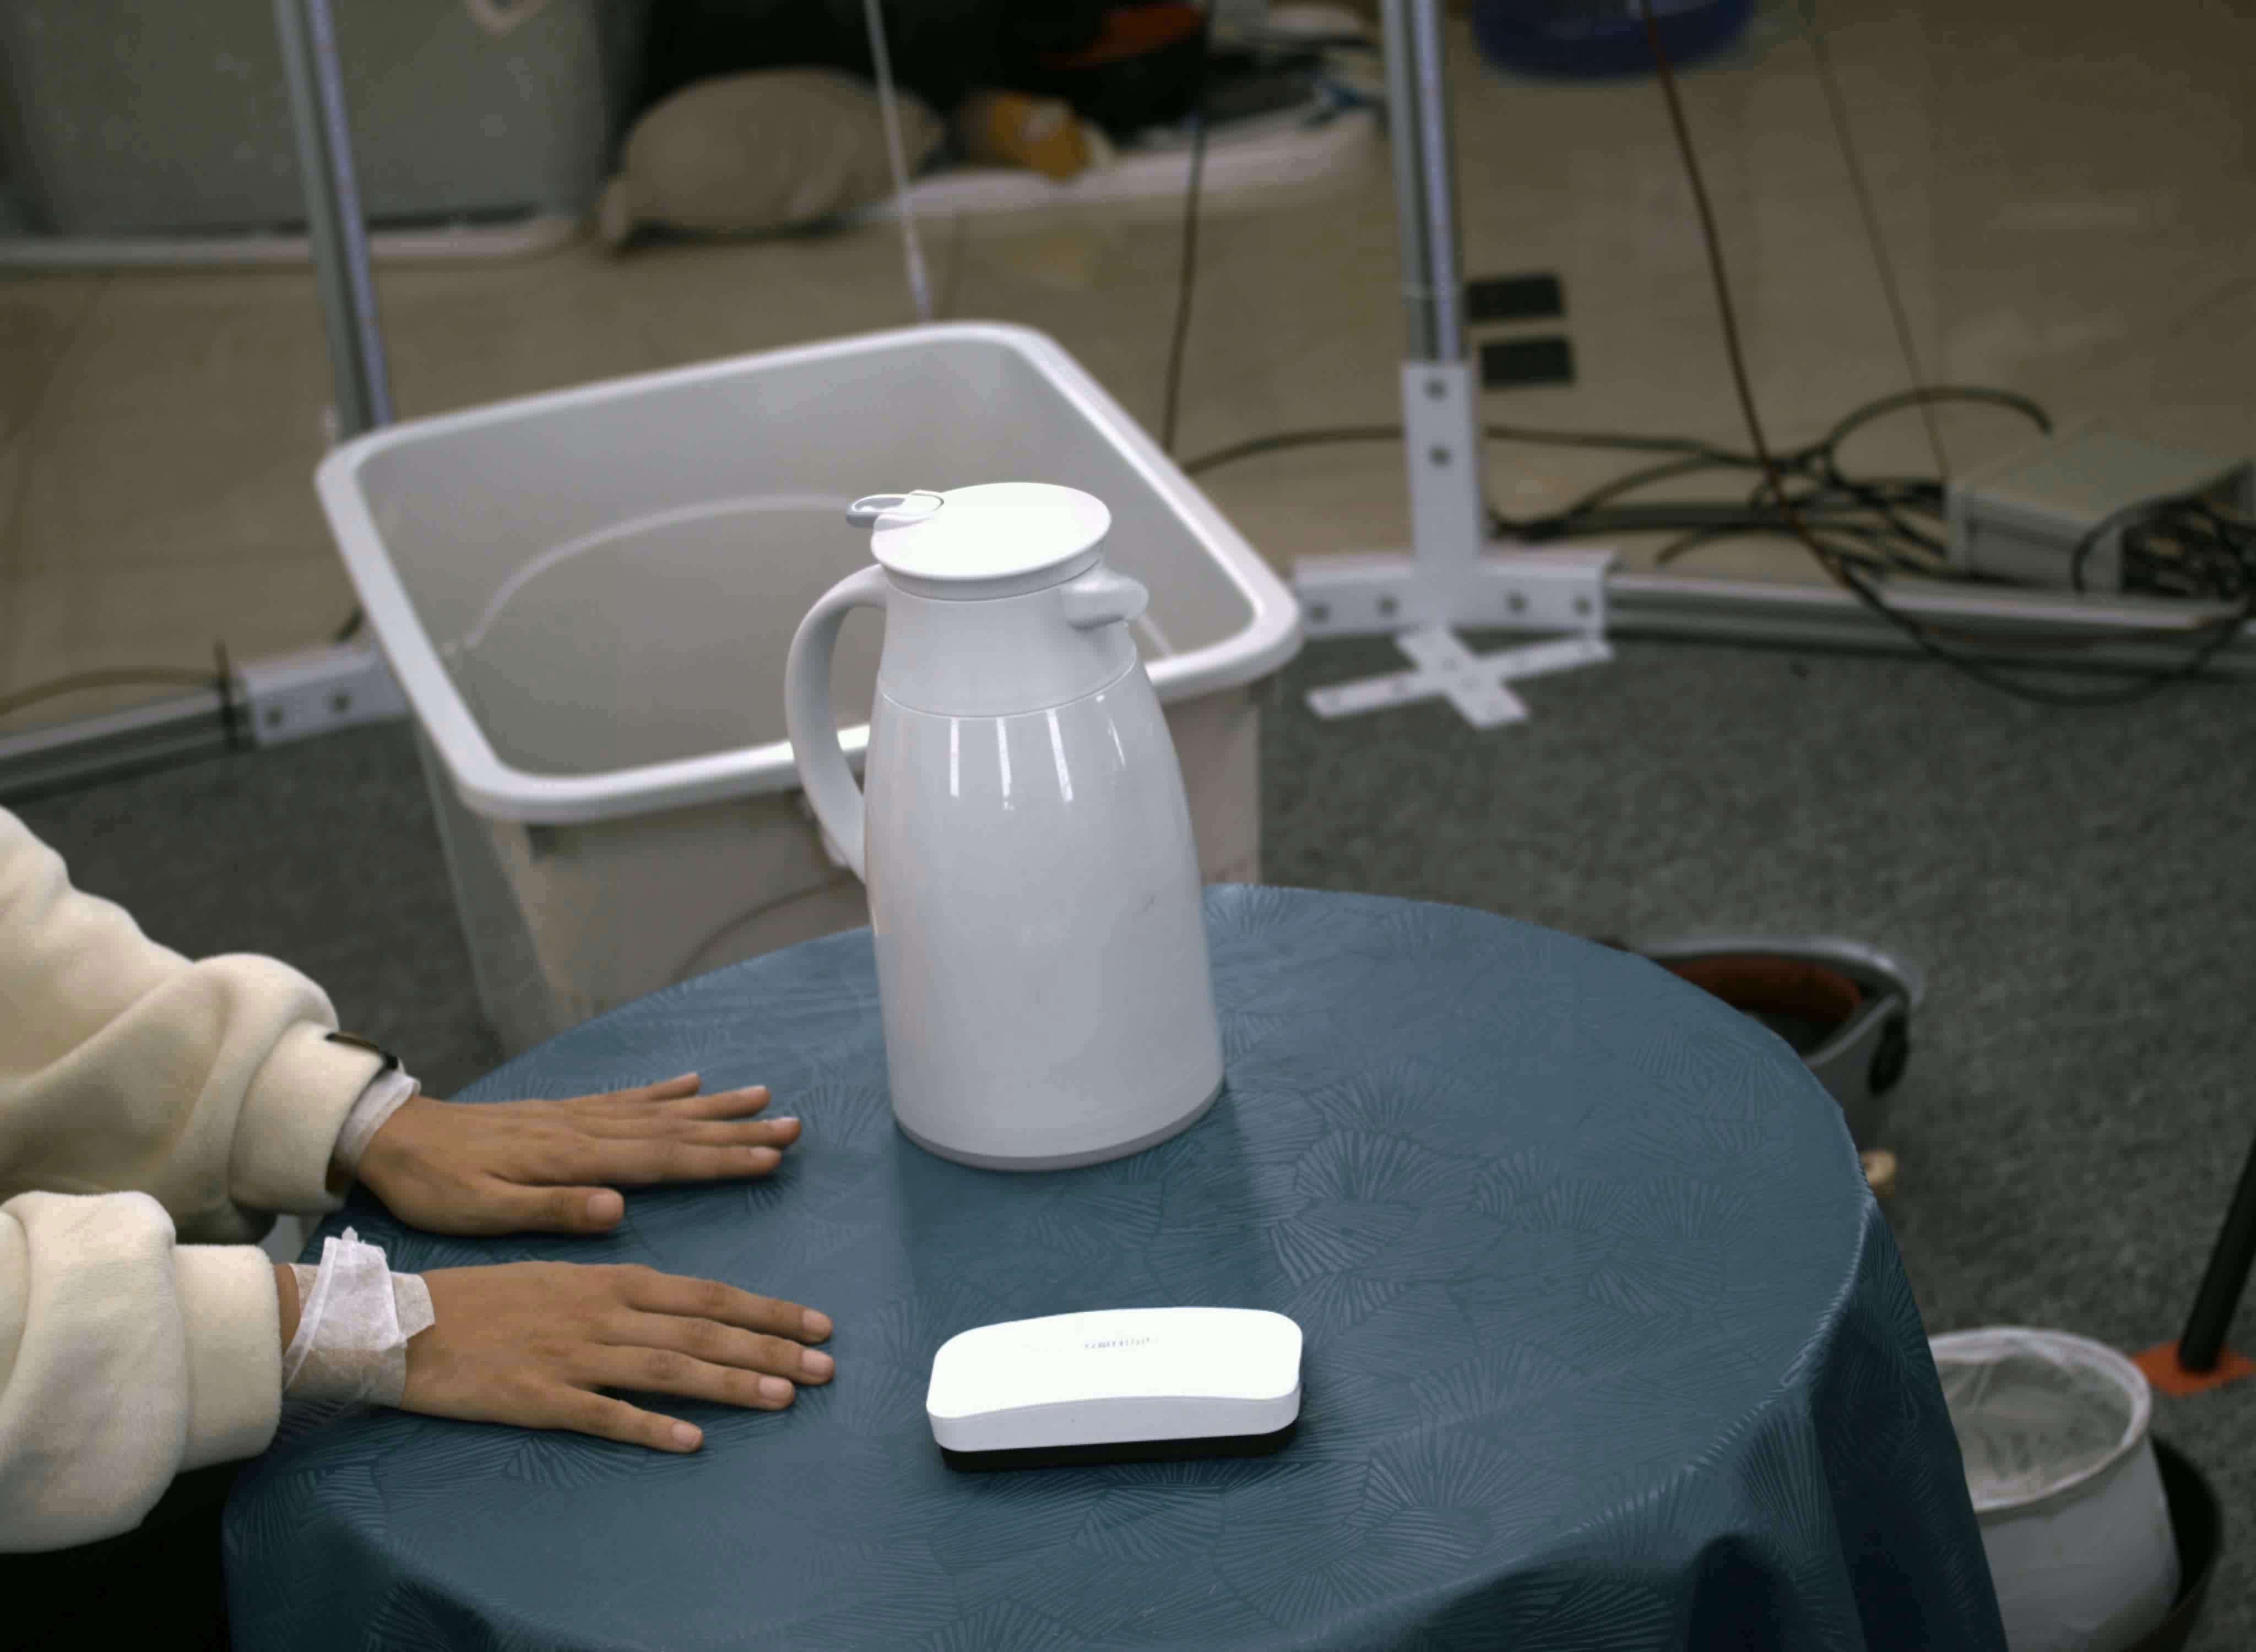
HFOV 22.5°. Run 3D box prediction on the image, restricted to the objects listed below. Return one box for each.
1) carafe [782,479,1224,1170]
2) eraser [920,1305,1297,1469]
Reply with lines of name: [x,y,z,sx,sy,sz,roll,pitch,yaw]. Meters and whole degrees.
carafe: [-0.057,-0.009,2.181,0.167,0.252,0.131,9,30,31]
eraser: [-0.006,0.196,1.989,0.131,0.035,0.062,-3,22,6]
